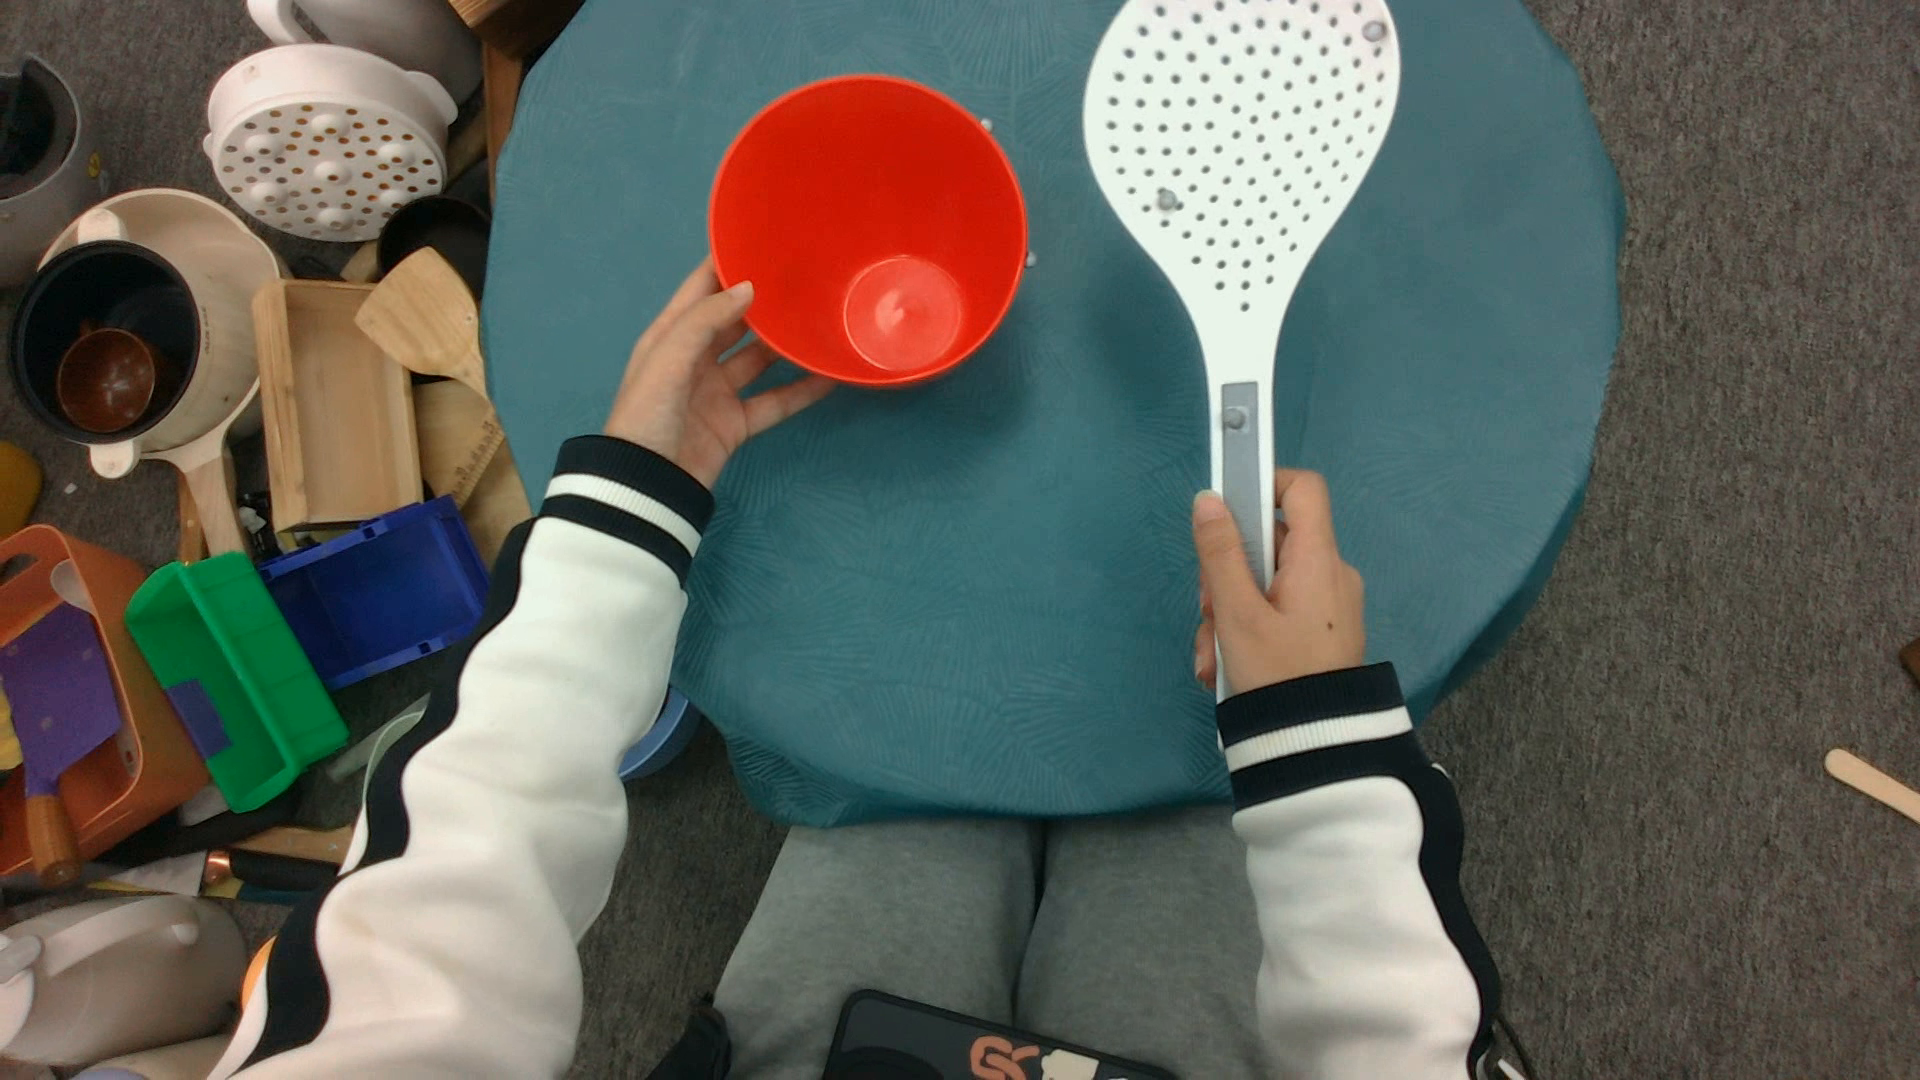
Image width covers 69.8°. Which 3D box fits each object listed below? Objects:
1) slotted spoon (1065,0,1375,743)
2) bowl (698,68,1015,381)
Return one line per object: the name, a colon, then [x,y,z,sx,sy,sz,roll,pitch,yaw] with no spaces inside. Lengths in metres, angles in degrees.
slotted spoon: [0.115,-0.088,0.597,0.136,0.046,0.350,-2,83,24]
bowl: [-0.047,-0.141,0.683,0.148,0.104,0.148,0,77,0]
